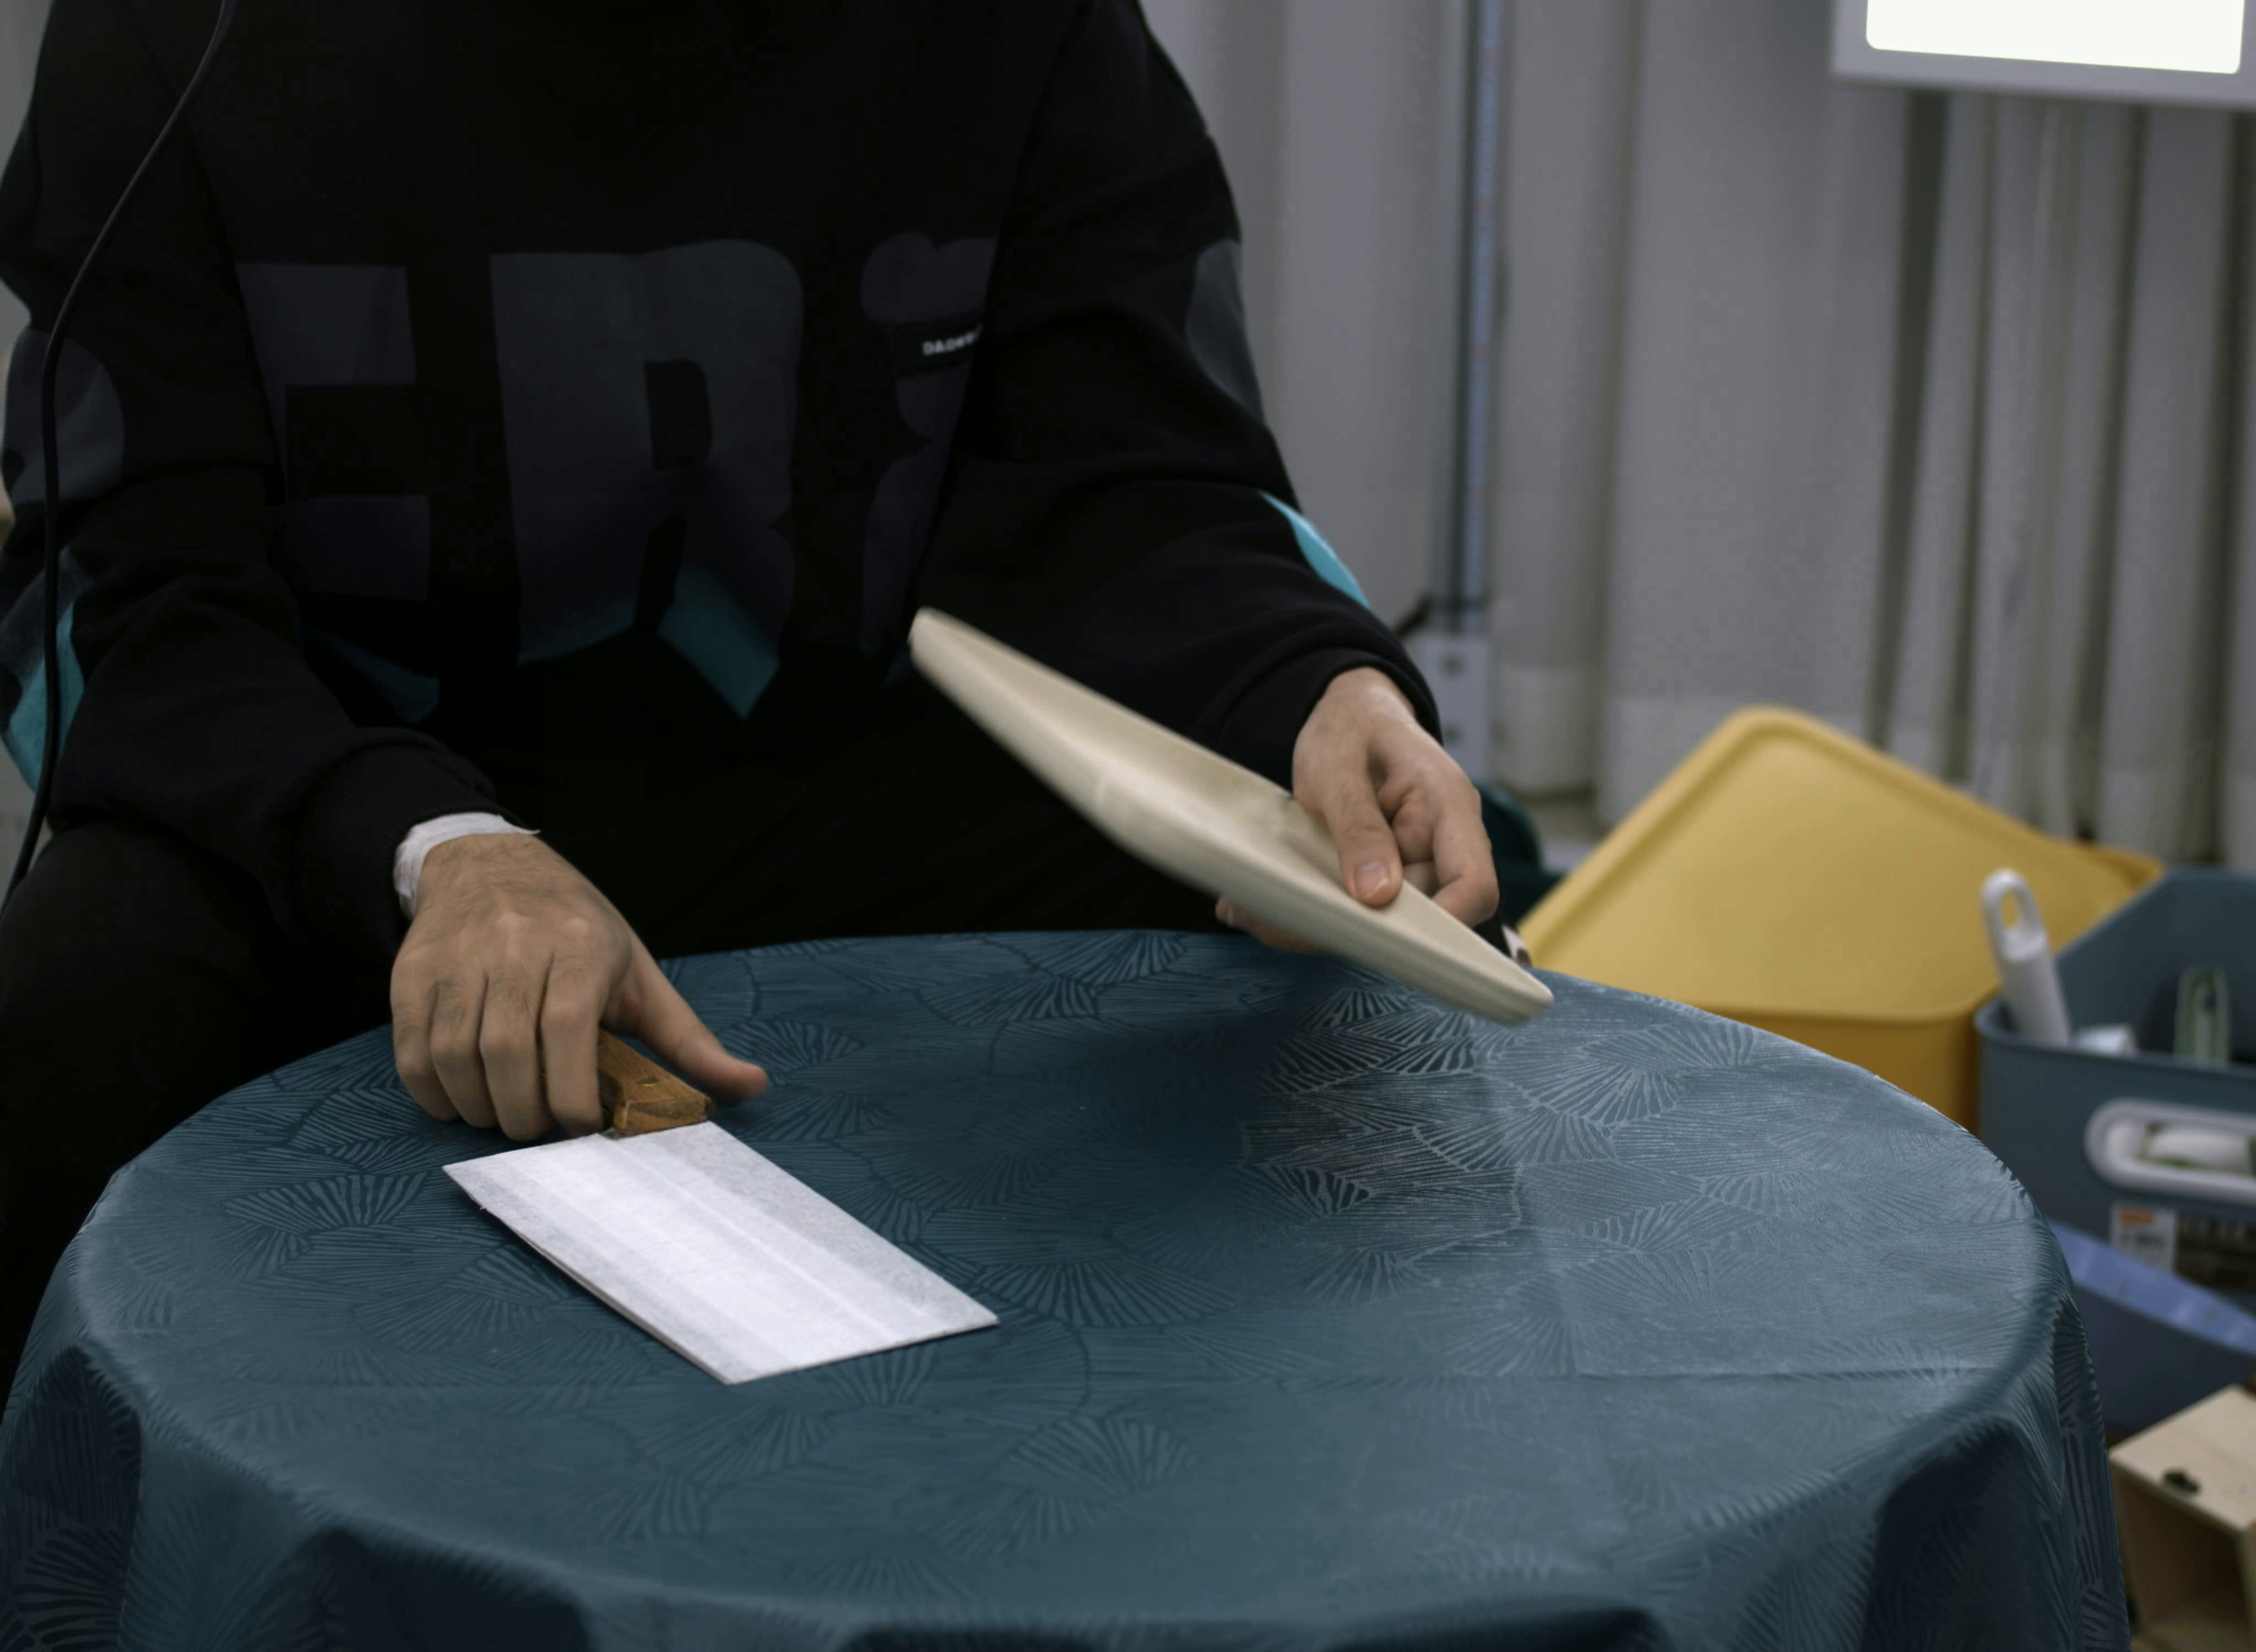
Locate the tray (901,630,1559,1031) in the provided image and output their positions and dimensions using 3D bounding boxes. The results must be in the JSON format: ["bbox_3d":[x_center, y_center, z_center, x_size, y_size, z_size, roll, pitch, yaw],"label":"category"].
[{"bbox_3d":[0.027,0.002,1.665,0.173,0.017,0.237,24,7,-26],"label":"tray"}]

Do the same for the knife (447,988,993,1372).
[{"bbox_3d":[-0.152,0.107,1.607,0.093,0.021,0.301,-11,22,-30],"label":"knife"}]
